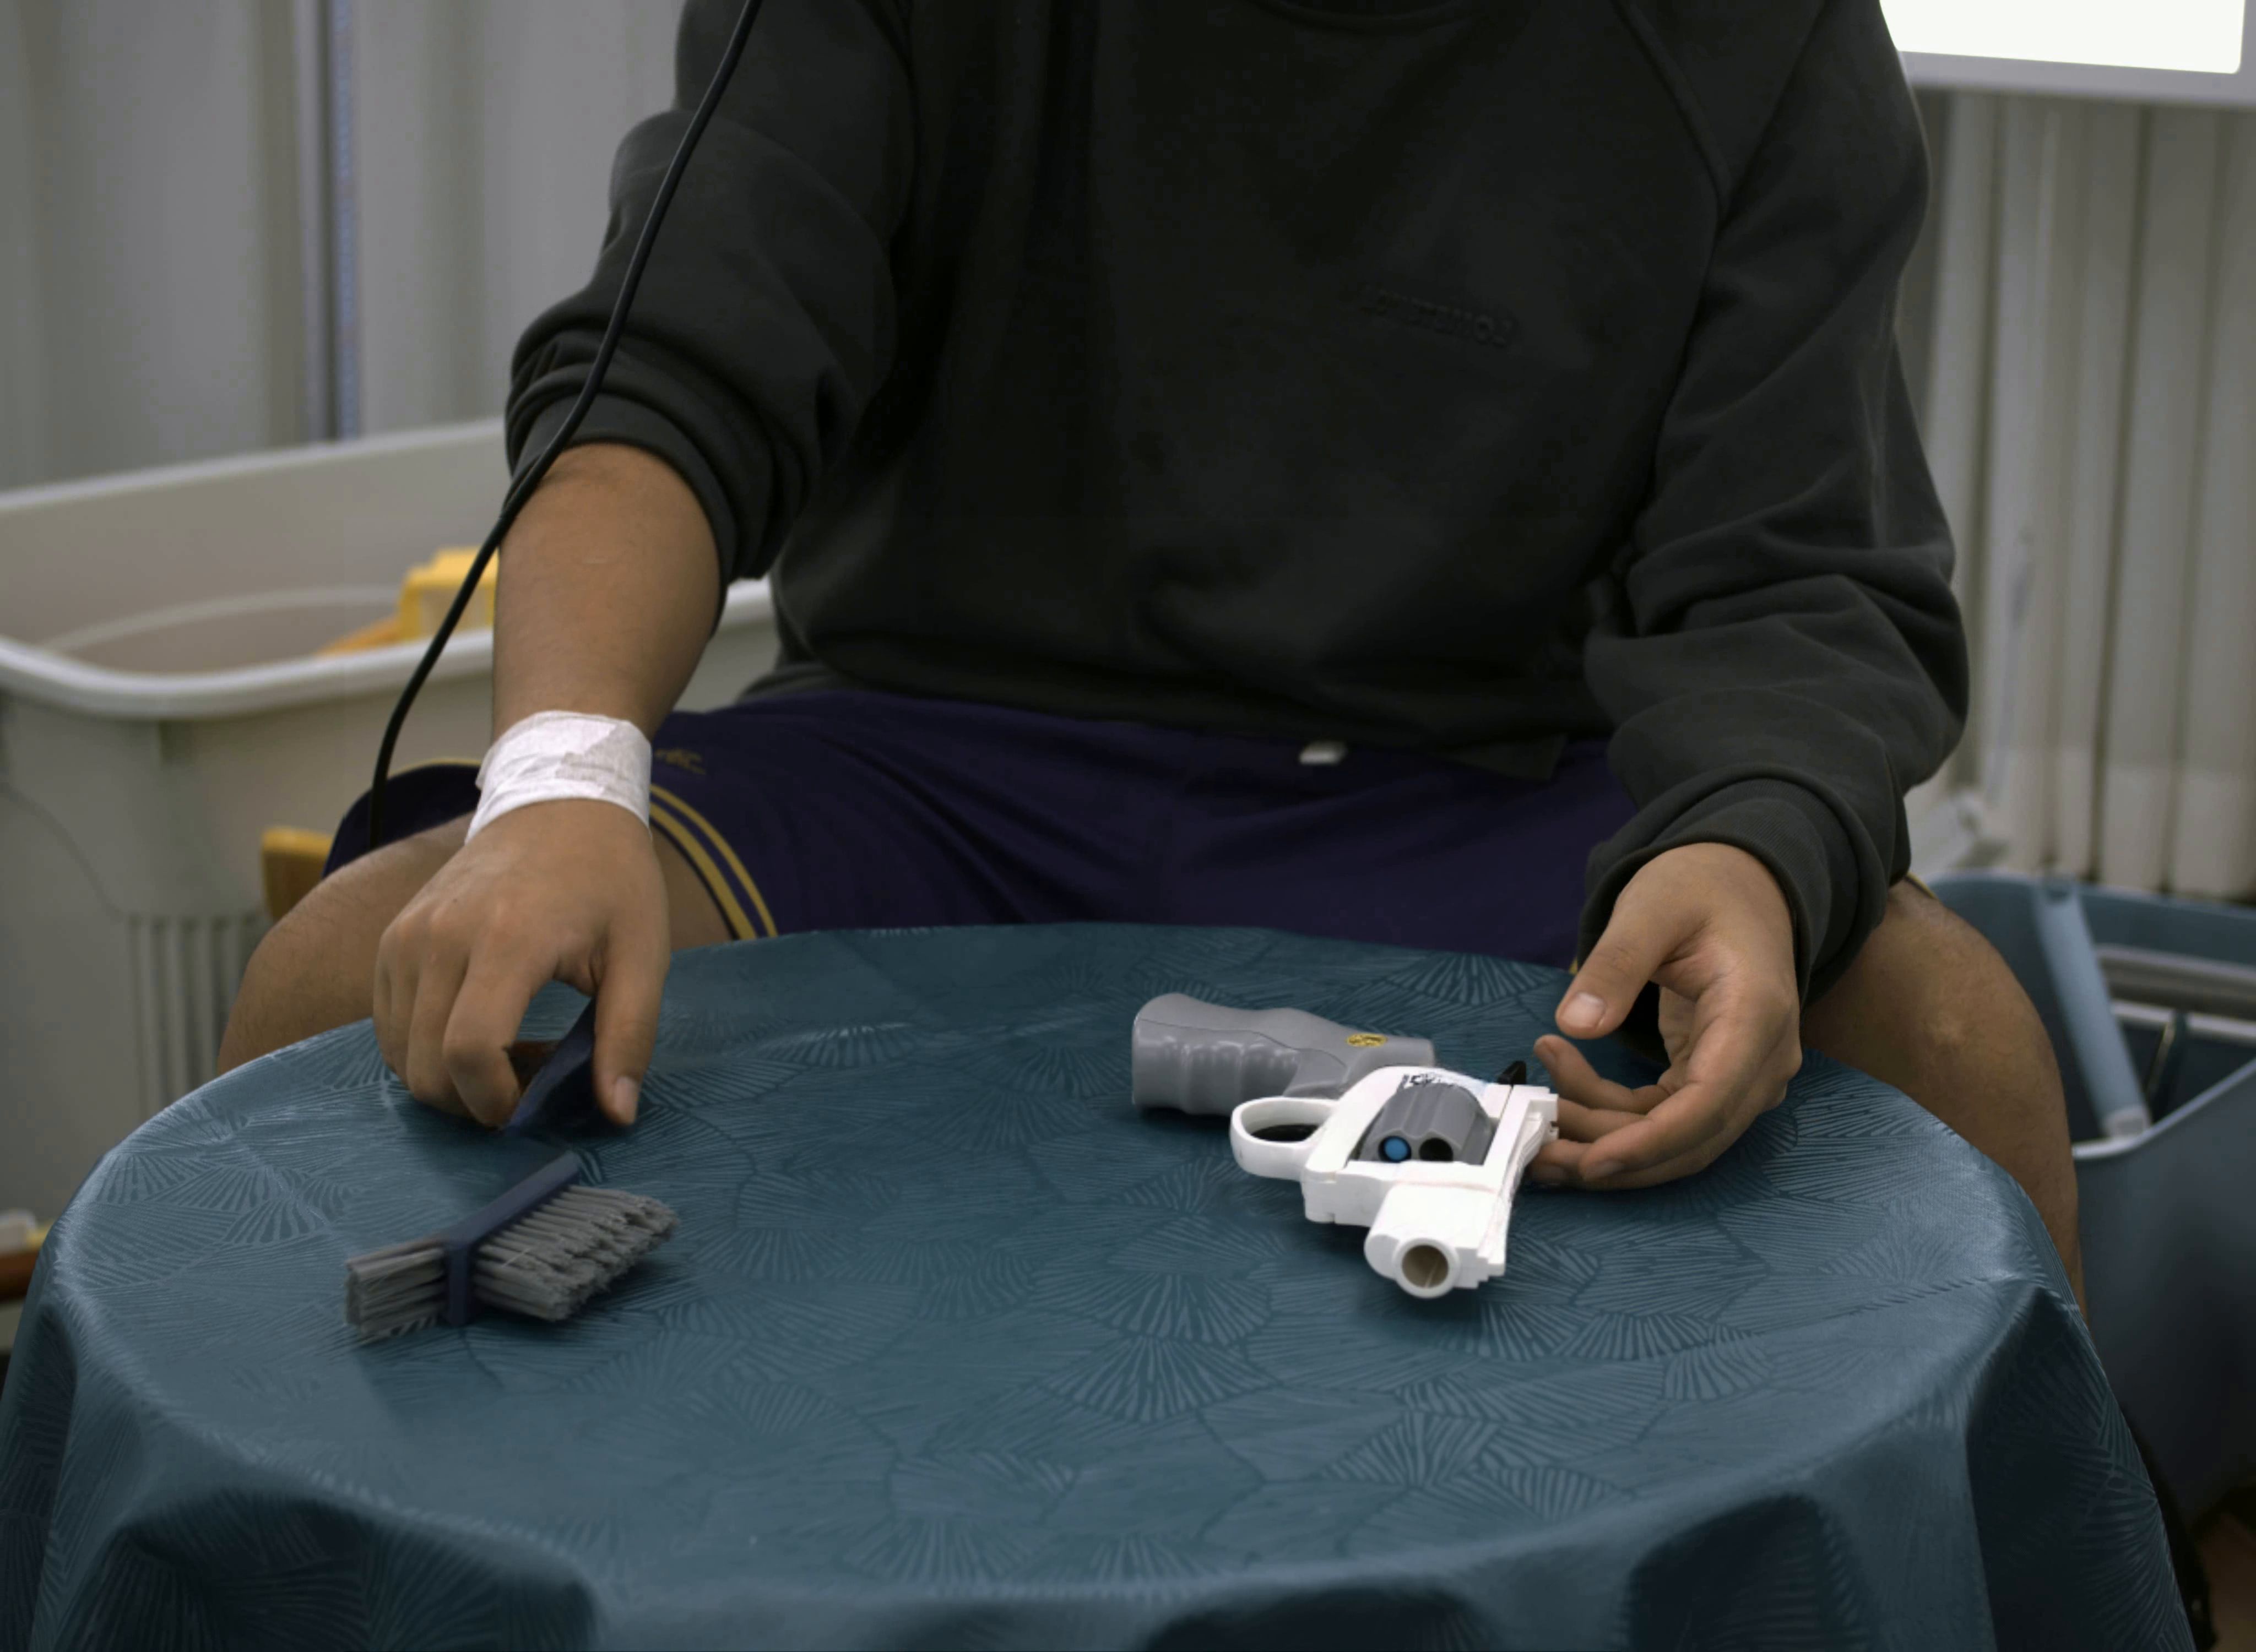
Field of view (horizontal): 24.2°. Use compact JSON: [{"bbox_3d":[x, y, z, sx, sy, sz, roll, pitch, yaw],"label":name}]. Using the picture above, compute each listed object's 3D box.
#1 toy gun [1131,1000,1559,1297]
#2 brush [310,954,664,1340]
[{"bbox_3d":[0.059,0.096,1.612,0.141,0.039,0.208,2,16,10],"label":"toy gun"},{"bbox_3d":[-0.187,0.095,1.618,0.095,0.034,0.271,0,16,-1],"label":"brush"}]
